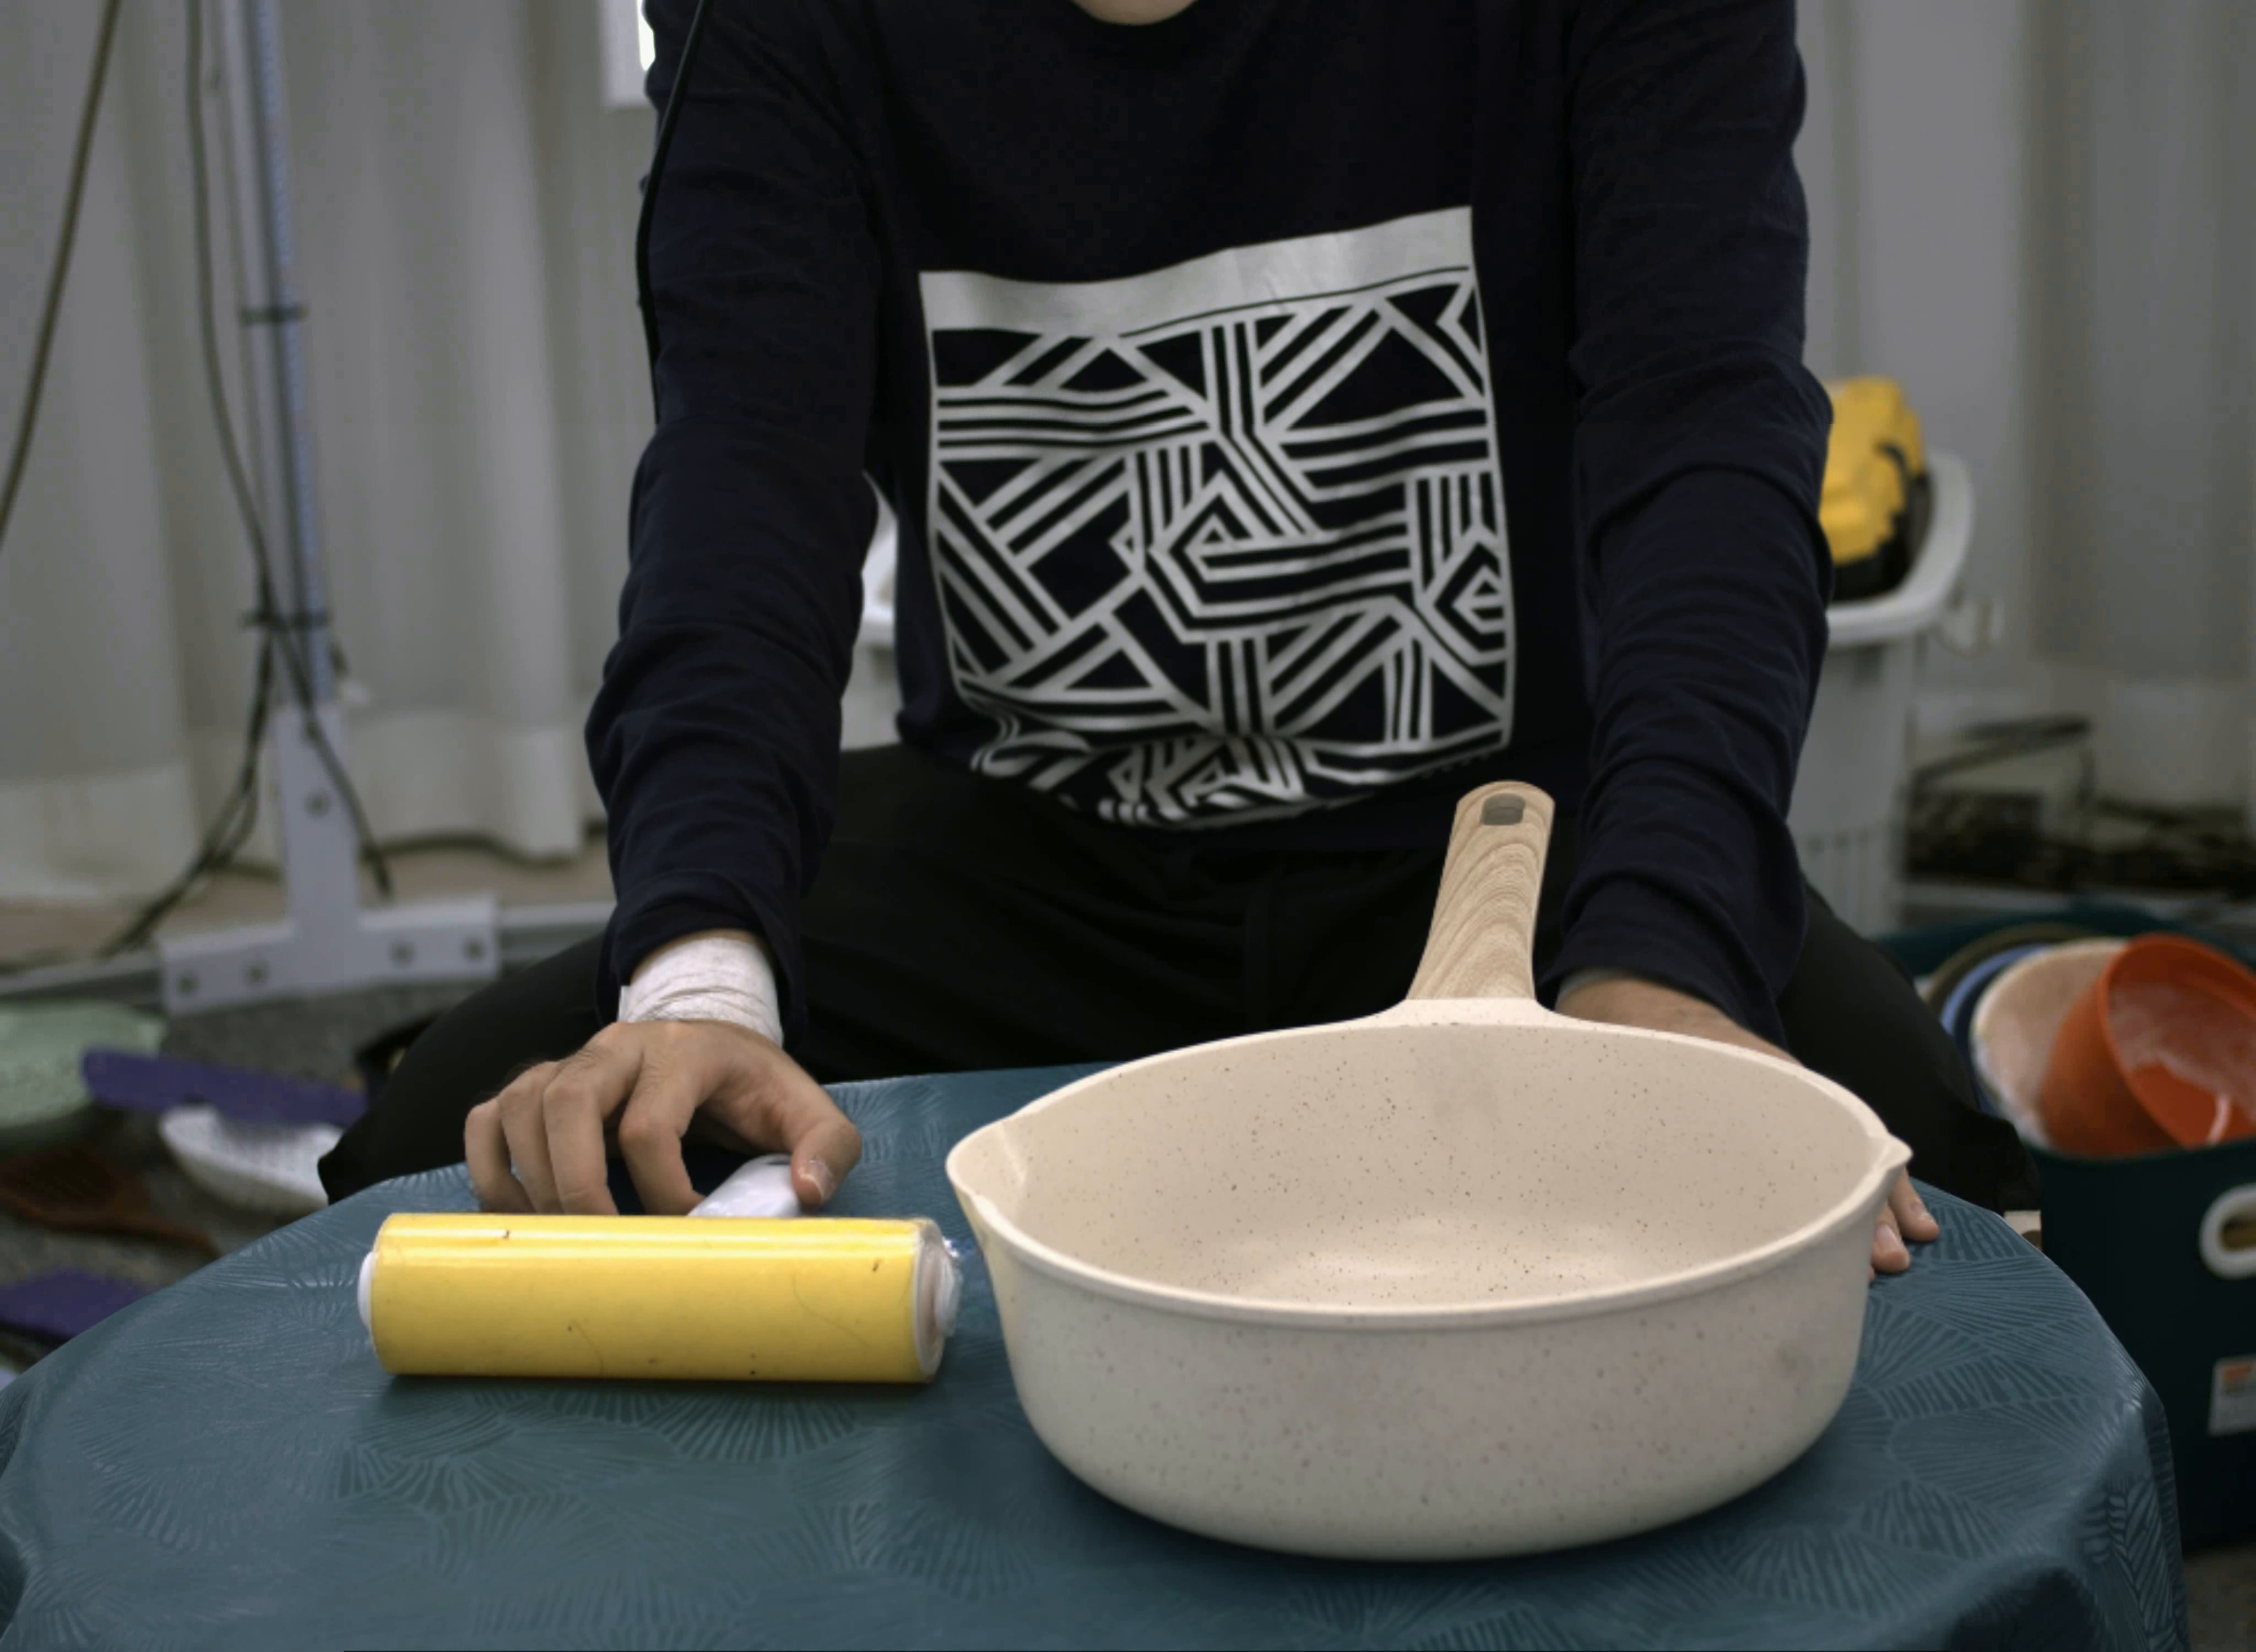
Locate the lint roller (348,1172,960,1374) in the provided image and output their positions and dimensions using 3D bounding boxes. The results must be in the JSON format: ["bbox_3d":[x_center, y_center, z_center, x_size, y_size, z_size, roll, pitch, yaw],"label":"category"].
[{"bbox_3d":[-0.127,0.118,1.641,0.174,0.051,0.193,0,14,10],"label":"lint roller"}]

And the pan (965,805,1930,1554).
[{"bbox_3d":[0.100,0.096,1.579,0.263,0.101,0.437,-3,14,8],"label":"pan"}]
